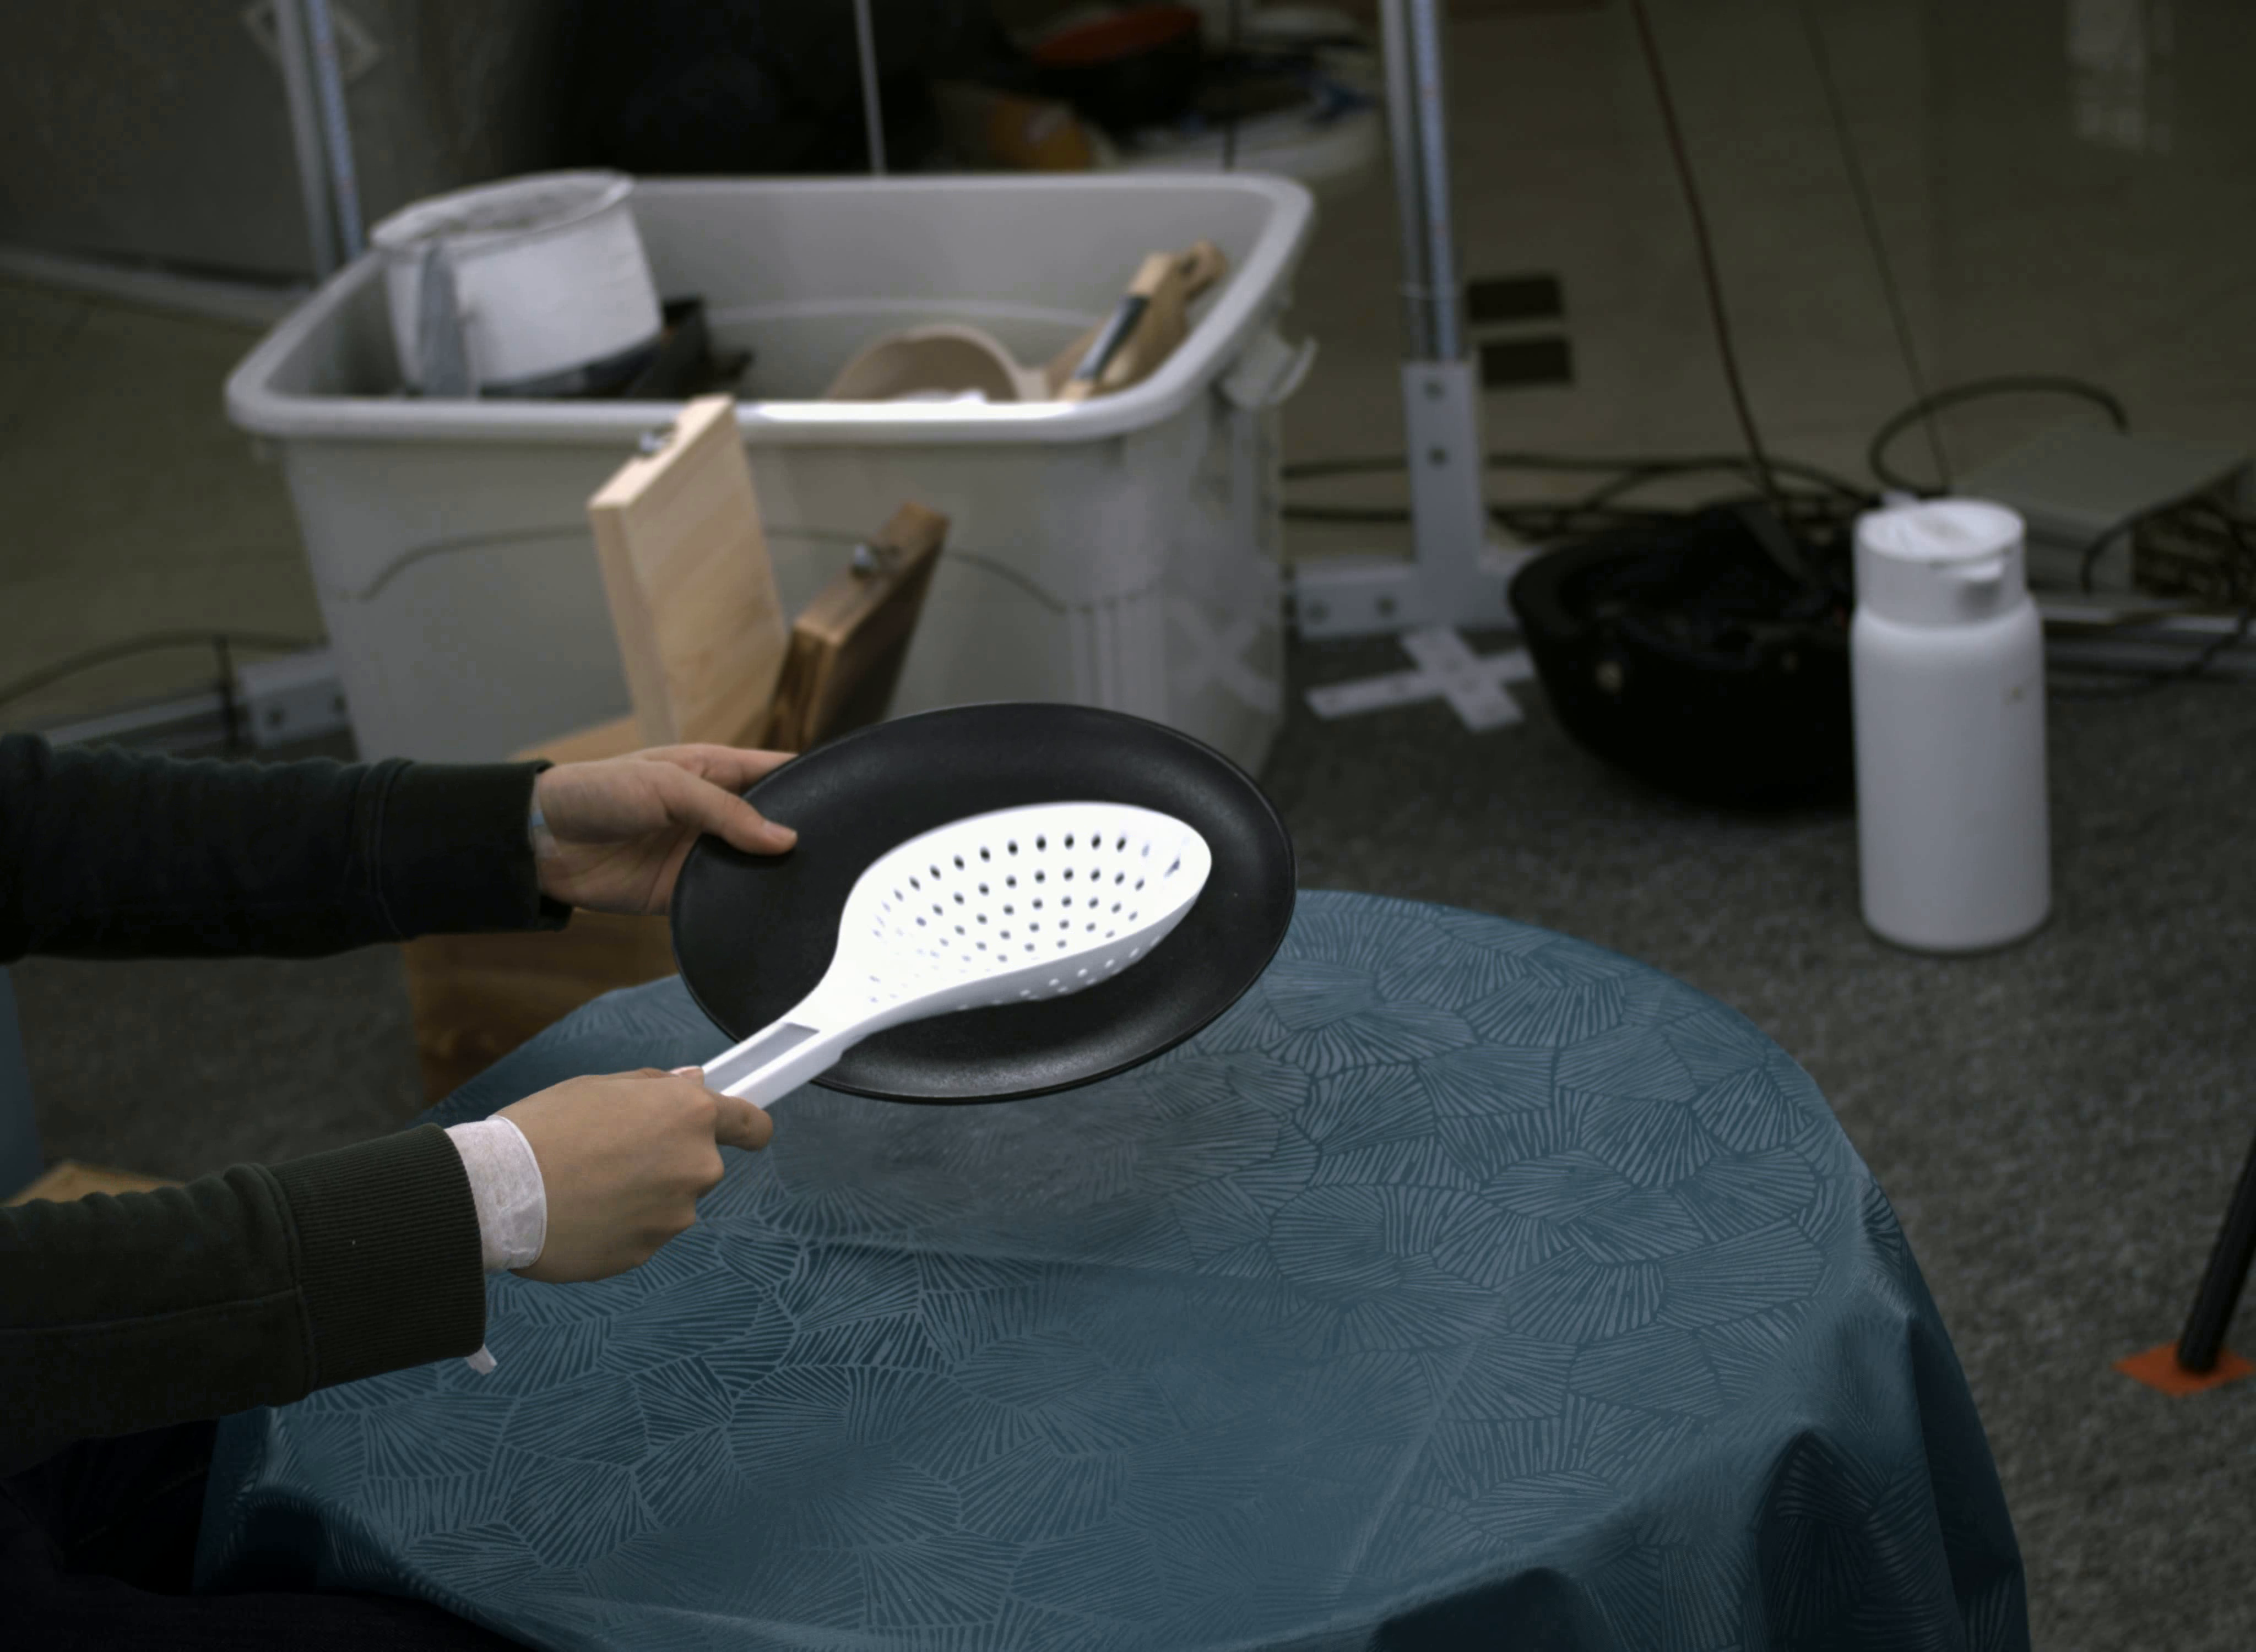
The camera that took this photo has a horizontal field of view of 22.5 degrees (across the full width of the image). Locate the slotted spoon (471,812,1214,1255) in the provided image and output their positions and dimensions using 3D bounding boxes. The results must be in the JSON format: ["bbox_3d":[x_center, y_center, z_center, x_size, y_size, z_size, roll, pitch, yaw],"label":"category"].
[{"bbox_3d":[-0.103,0.071,2.033,0.135,0.046,0.347,10,25,40],"label":"slotted spoon"}]

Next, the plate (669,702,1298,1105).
[{"bbox_3d":[-0.055,0.034,2.186,0.244,0.024,0.240,-3,39,3],"label":"plate"}]
